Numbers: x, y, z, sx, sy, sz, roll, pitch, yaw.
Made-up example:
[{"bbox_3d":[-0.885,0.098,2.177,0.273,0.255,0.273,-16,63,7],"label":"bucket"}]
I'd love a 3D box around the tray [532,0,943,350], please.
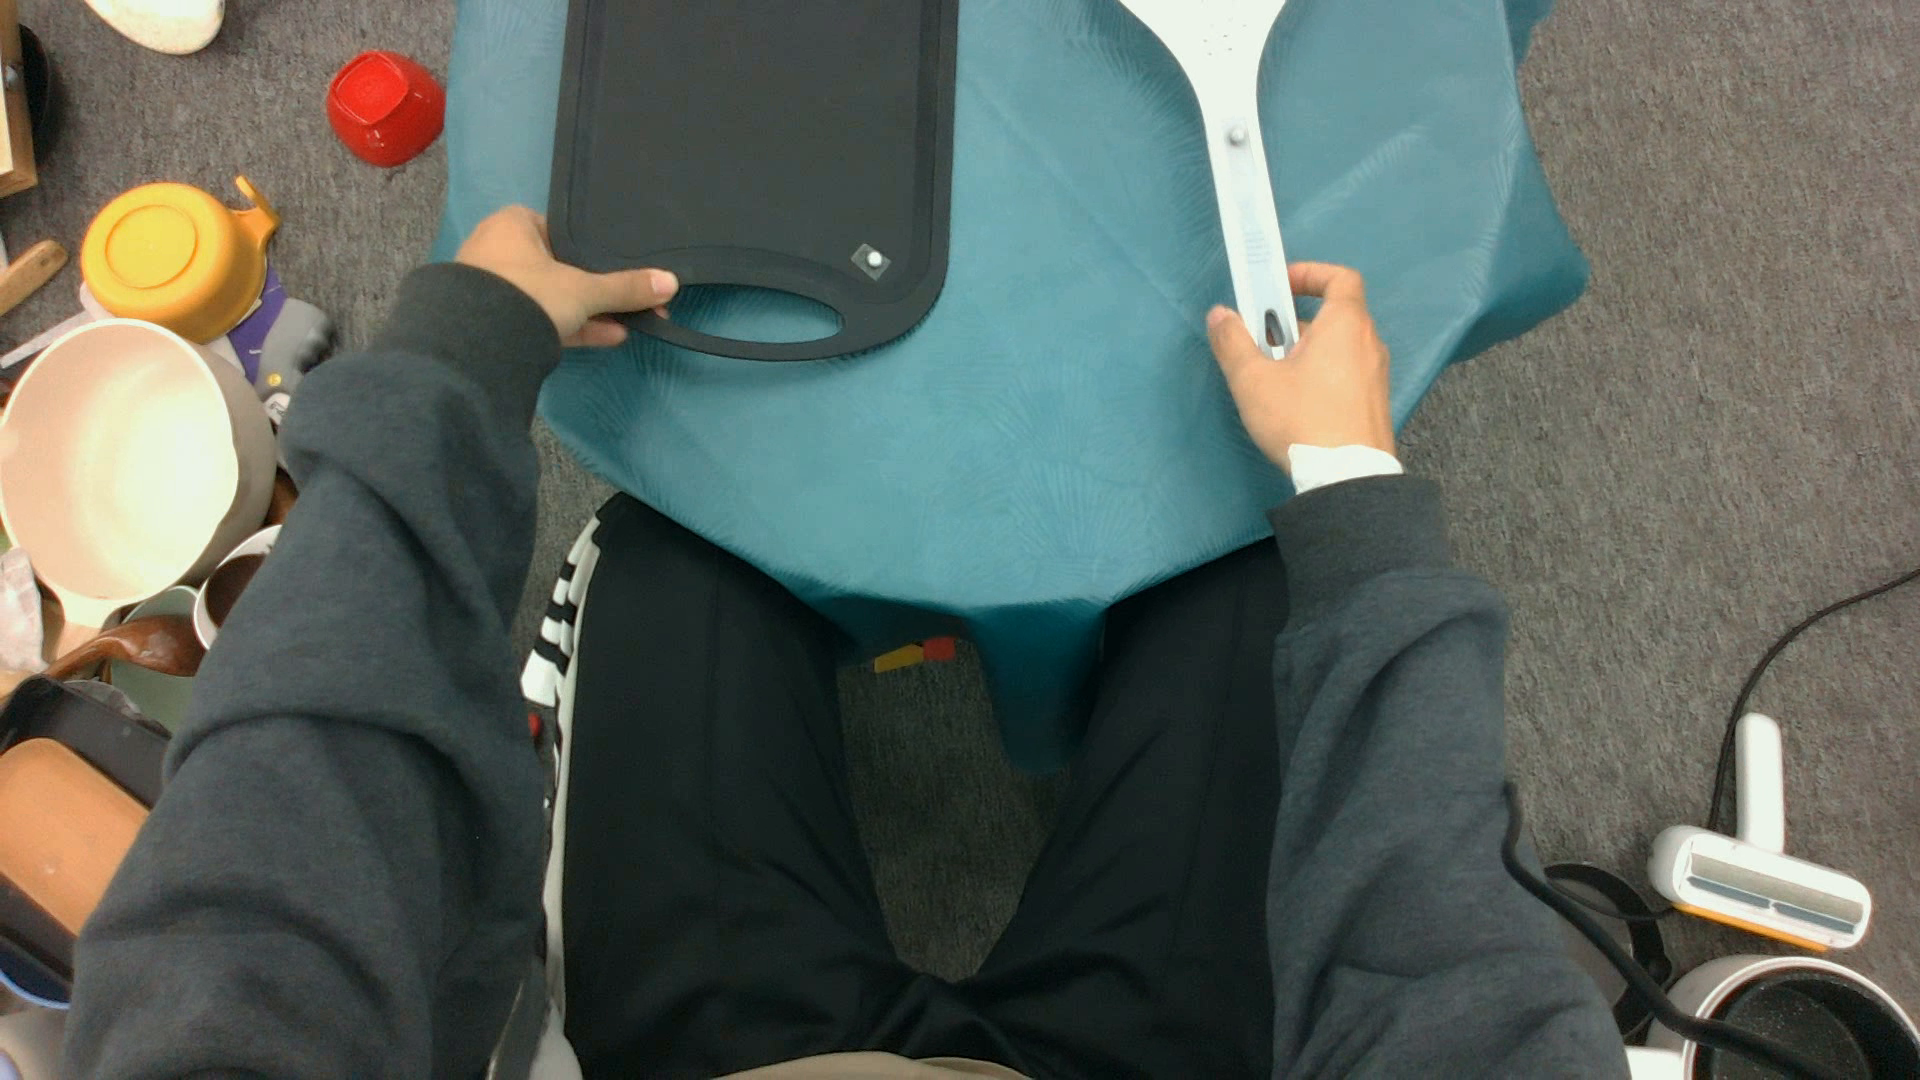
[{"bbox_3d":[-0.114,-0.259,0.749,0.211,0.010,0.326,4,78,-10],"label":"tray"}]

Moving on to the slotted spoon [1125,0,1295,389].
[{"bbox_3d":[0.132,-0.246,0.732,0.136,0.045,0.350,-7,72,-8],"label":"slotted spoon"}]
